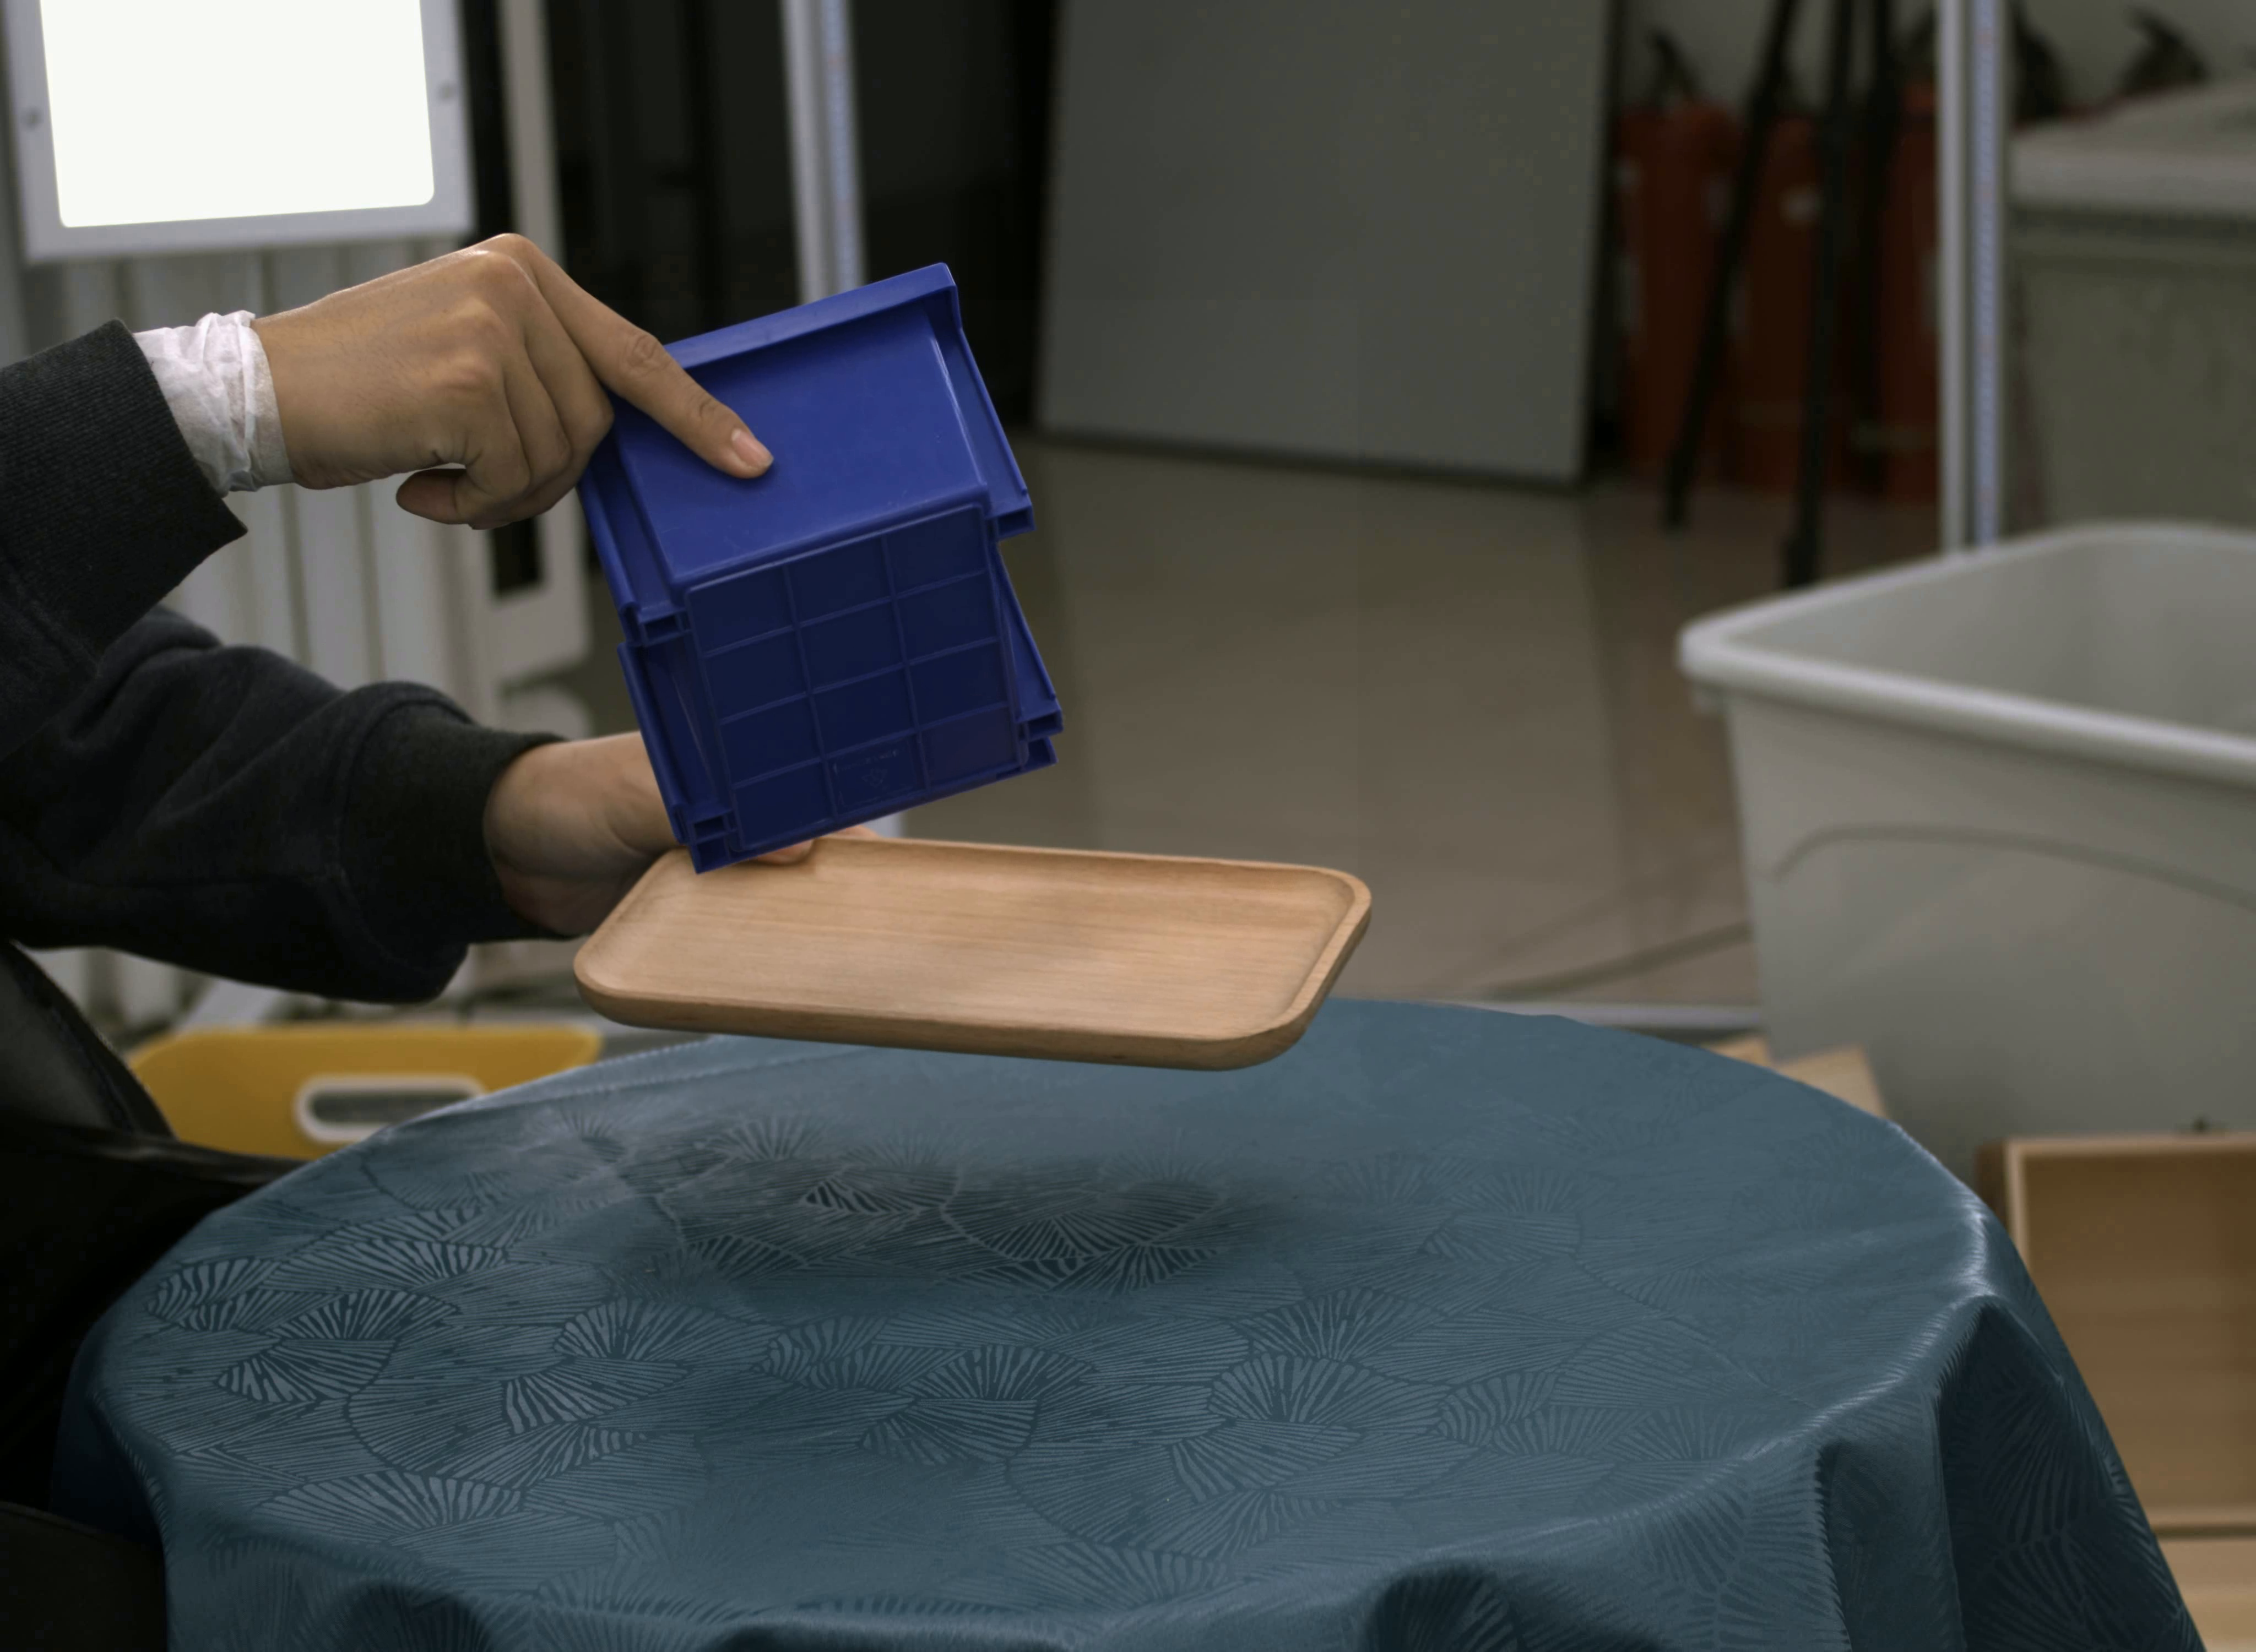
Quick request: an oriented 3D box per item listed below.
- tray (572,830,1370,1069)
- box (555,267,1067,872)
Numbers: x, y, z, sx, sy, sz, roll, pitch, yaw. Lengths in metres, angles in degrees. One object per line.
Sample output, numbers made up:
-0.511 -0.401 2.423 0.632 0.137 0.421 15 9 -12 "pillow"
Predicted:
-0.050 0.039 1.747 0.250 0.023 0.129 3 23 20 "tray"
-0.093 -0.067 1.637 0.123 0.179 0.083 -19 59 -4 "box"
